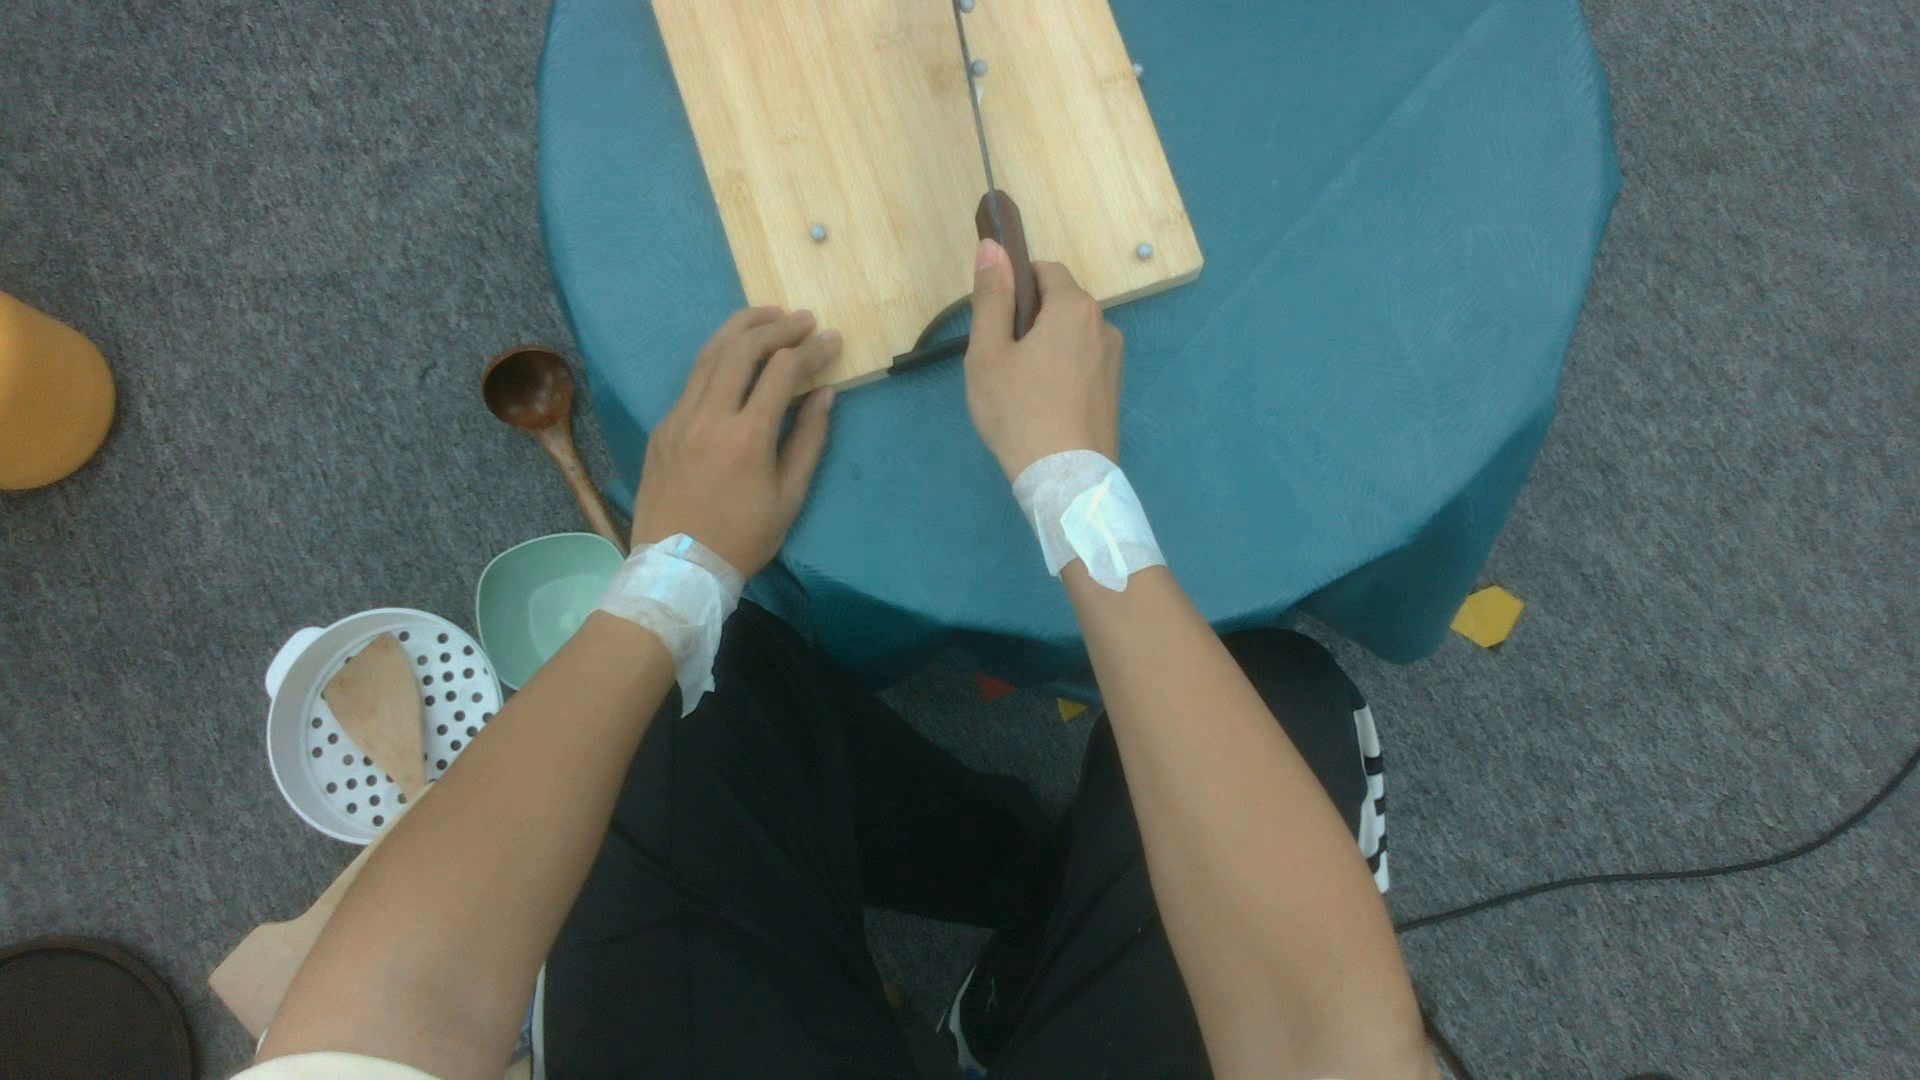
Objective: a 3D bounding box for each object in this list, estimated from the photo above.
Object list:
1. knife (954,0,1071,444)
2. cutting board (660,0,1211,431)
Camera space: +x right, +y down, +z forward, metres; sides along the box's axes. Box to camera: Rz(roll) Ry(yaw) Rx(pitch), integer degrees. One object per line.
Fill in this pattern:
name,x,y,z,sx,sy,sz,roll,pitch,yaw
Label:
knife,0.019,-0.186,0.722,0.024,0.068,0.300,-12,76,5
cutting board,-0.030,-0.258,0.783,0.251,0.023,0.349,-19,79,-4
